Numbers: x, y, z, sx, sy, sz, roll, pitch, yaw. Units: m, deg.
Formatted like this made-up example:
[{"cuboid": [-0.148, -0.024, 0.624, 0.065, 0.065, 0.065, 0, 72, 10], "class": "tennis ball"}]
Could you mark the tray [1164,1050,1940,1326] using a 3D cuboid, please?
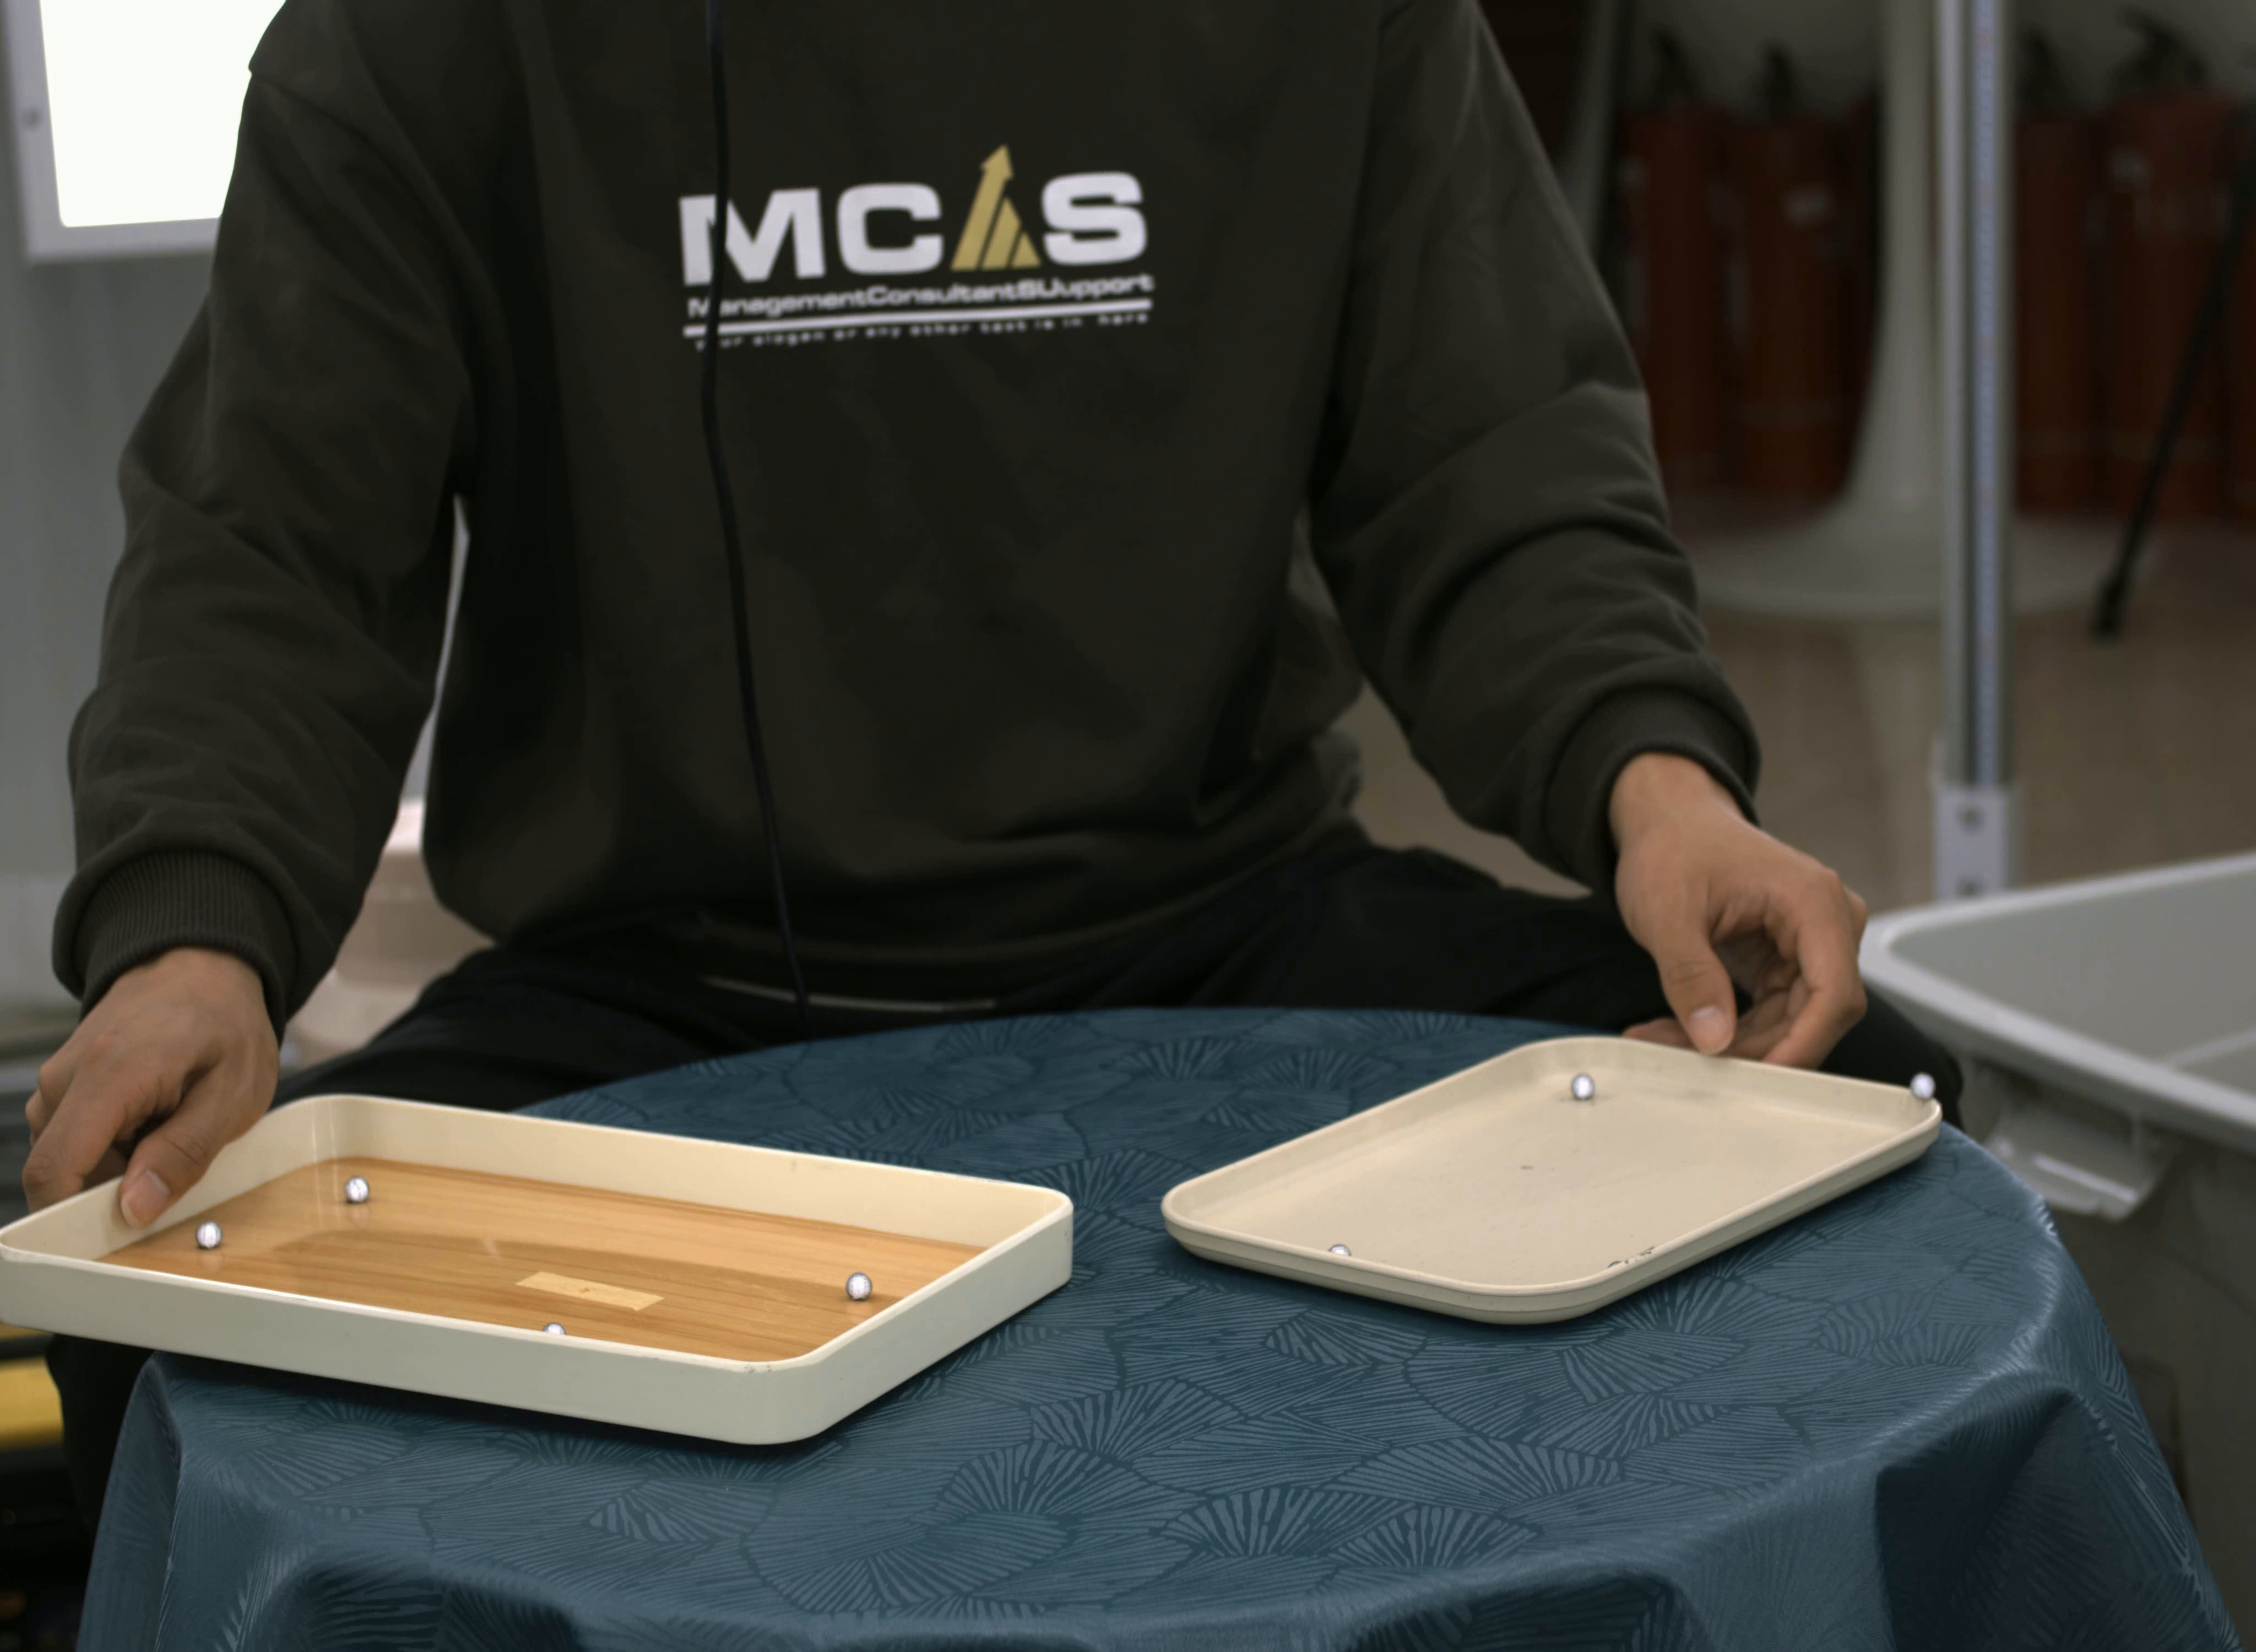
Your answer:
[{"cuboid": [0.139, 0.115, 1.730, 0.173, 0.017, 0.235, 7, 17, 42], "class": "tray"}]

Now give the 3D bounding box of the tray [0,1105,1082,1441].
[{"cuboid": [-0.181, 0.136, 1.687, 0.301, 0.028, 0.189, 5, 14, 28], "class": "tray"}]
